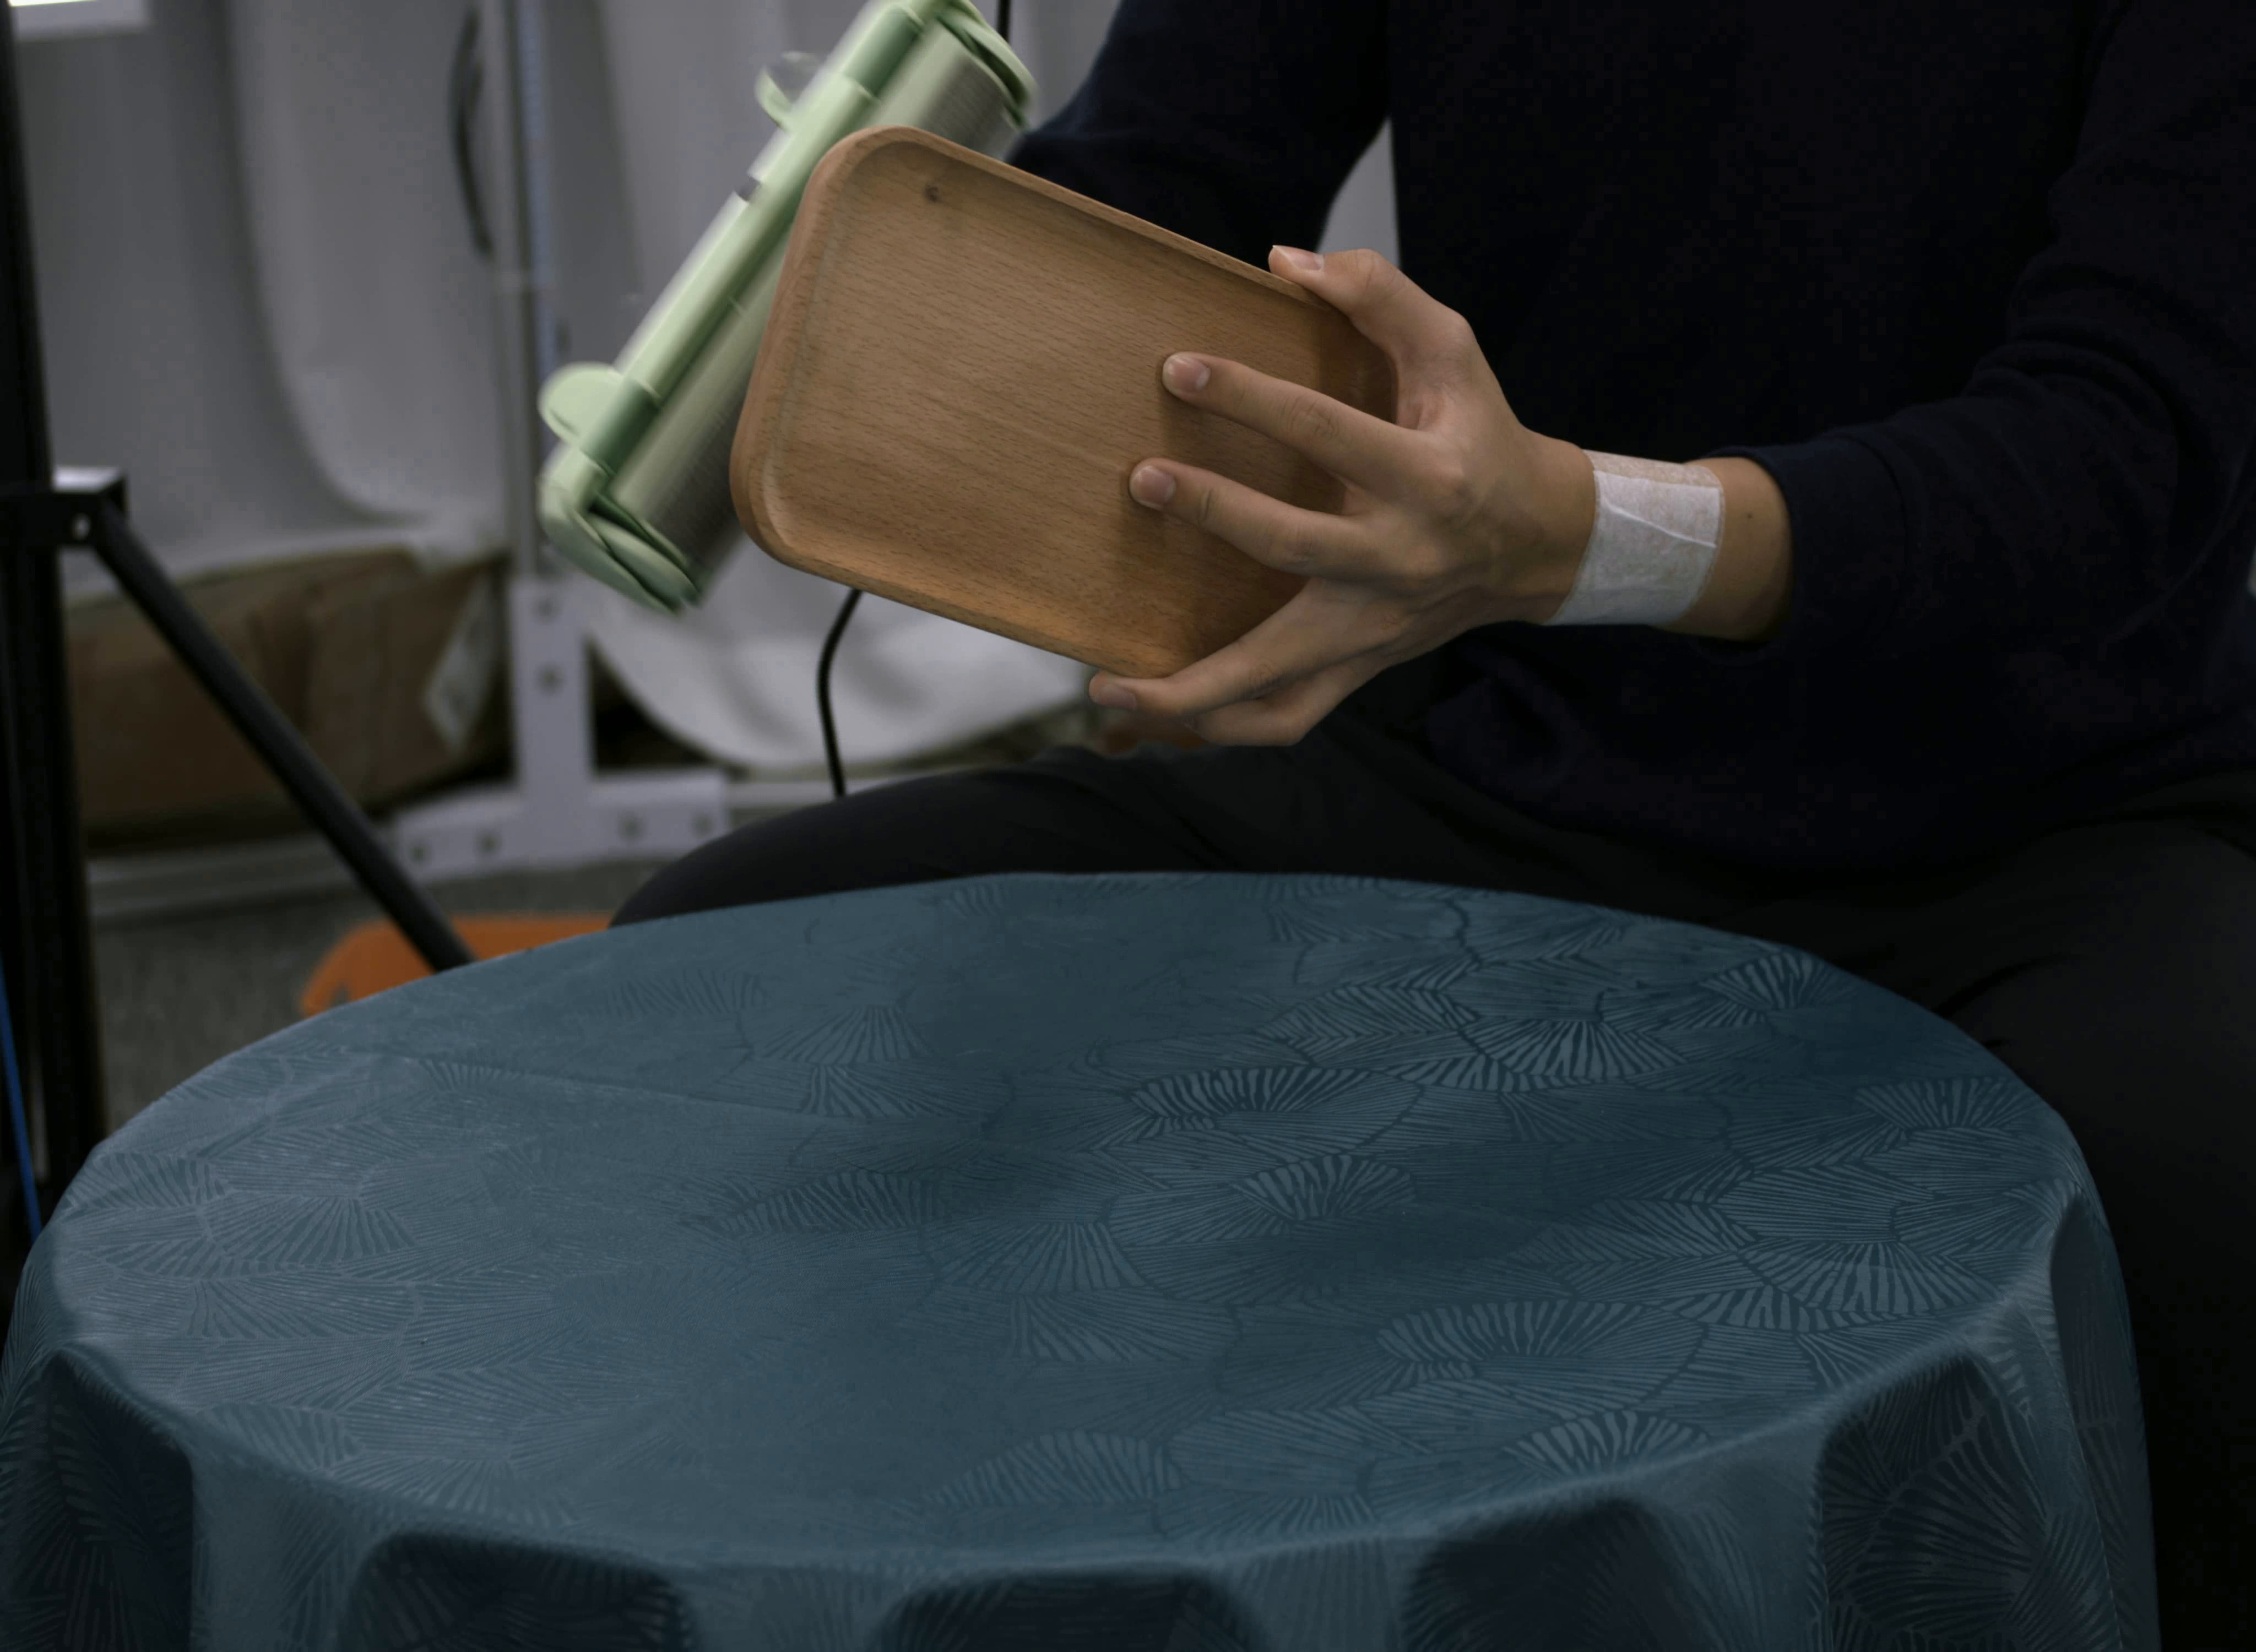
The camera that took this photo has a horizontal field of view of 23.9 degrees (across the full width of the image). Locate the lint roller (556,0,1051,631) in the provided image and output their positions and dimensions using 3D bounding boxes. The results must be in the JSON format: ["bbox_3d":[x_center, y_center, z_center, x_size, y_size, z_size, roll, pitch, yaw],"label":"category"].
[{"bbox_3d":[-0.102,-0.141,1.610,0.082,0.198,0.183,33,-13,6],"label":"lint roller"}]

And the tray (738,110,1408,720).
[{"bbox_3d":[-0.012,-0.114,1.532,0.023,0.131,0.244,18,0,44],"label":"tray"}]
